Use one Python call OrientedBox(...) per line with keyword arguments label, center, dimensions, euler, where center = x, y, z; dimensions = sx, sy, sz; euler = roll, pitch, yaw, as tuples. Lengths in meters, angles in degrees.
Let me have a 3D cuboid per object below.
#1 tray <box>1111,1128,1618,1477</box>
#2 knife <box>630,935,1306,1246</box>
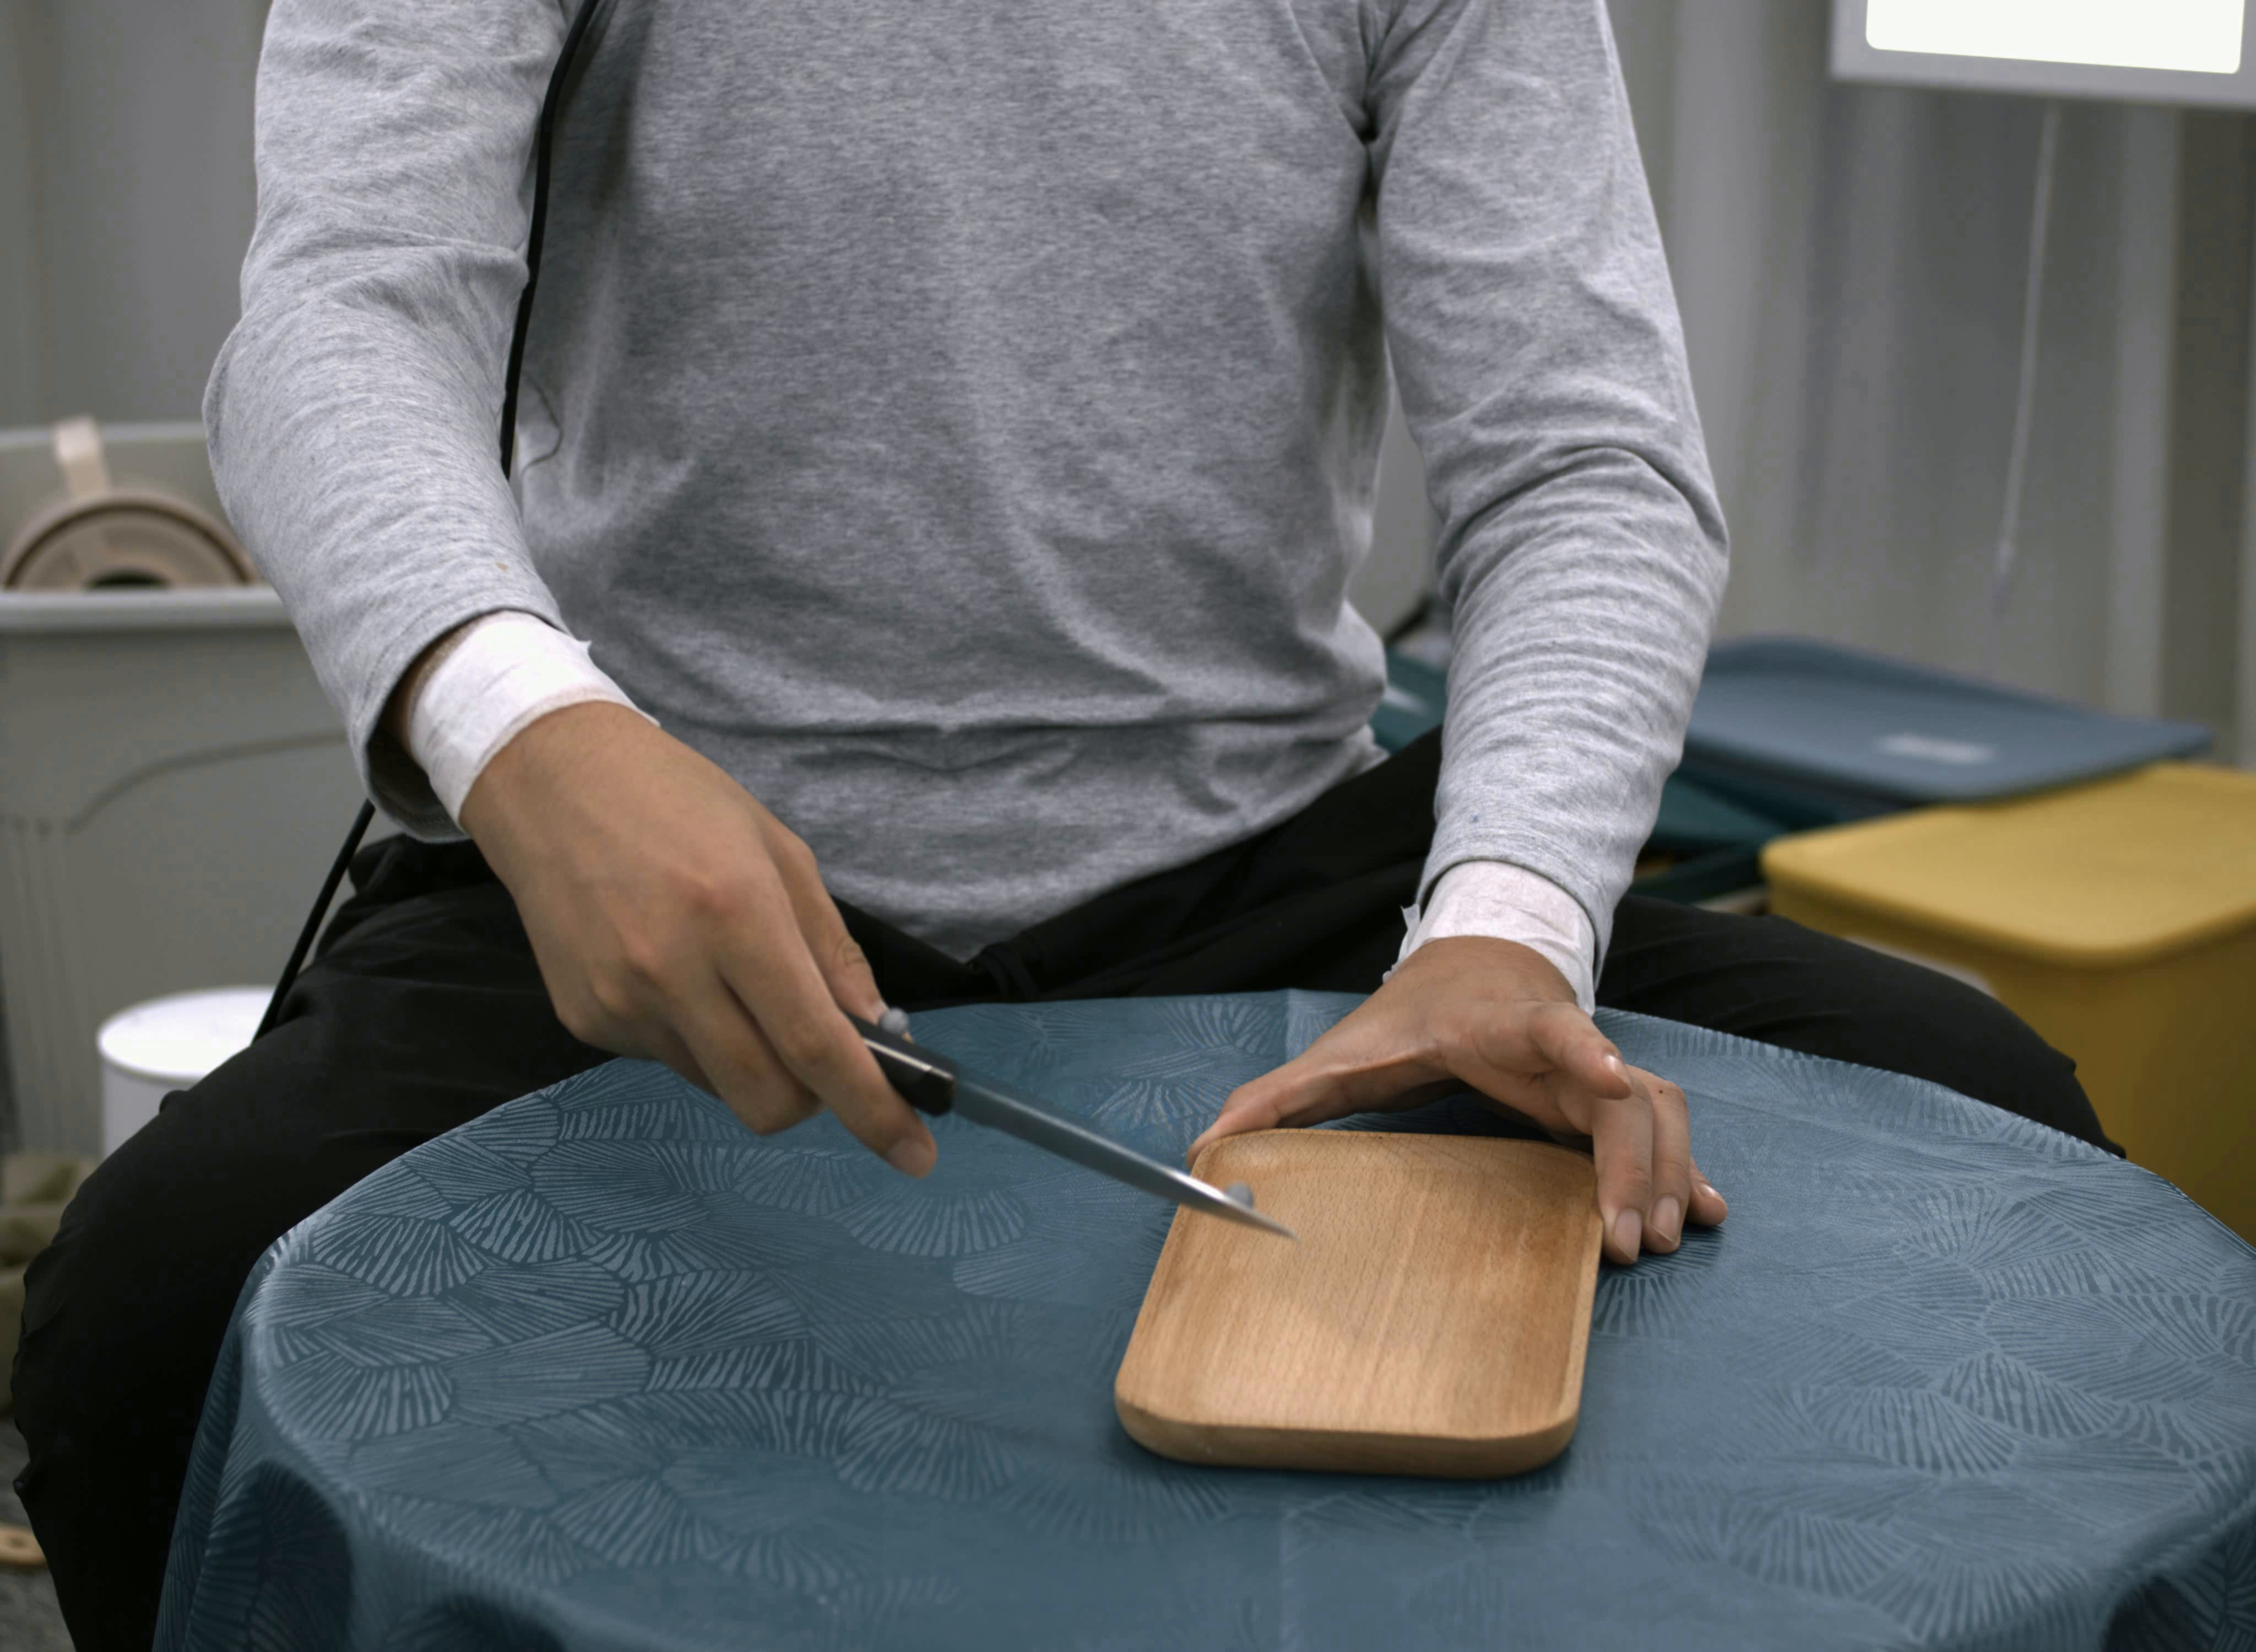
OrientedBox(label="tray", center=(0.072, 0.134, 1.519), dimensions=(0.130, 0.023, 0.250), euler=(5, 15, 7))
OrientedBox(label="knife", center=(-0.048, 0.072, 1.434), dimensions=(0.235, 0.025, 0.016), euler=(21, 67, 32))
